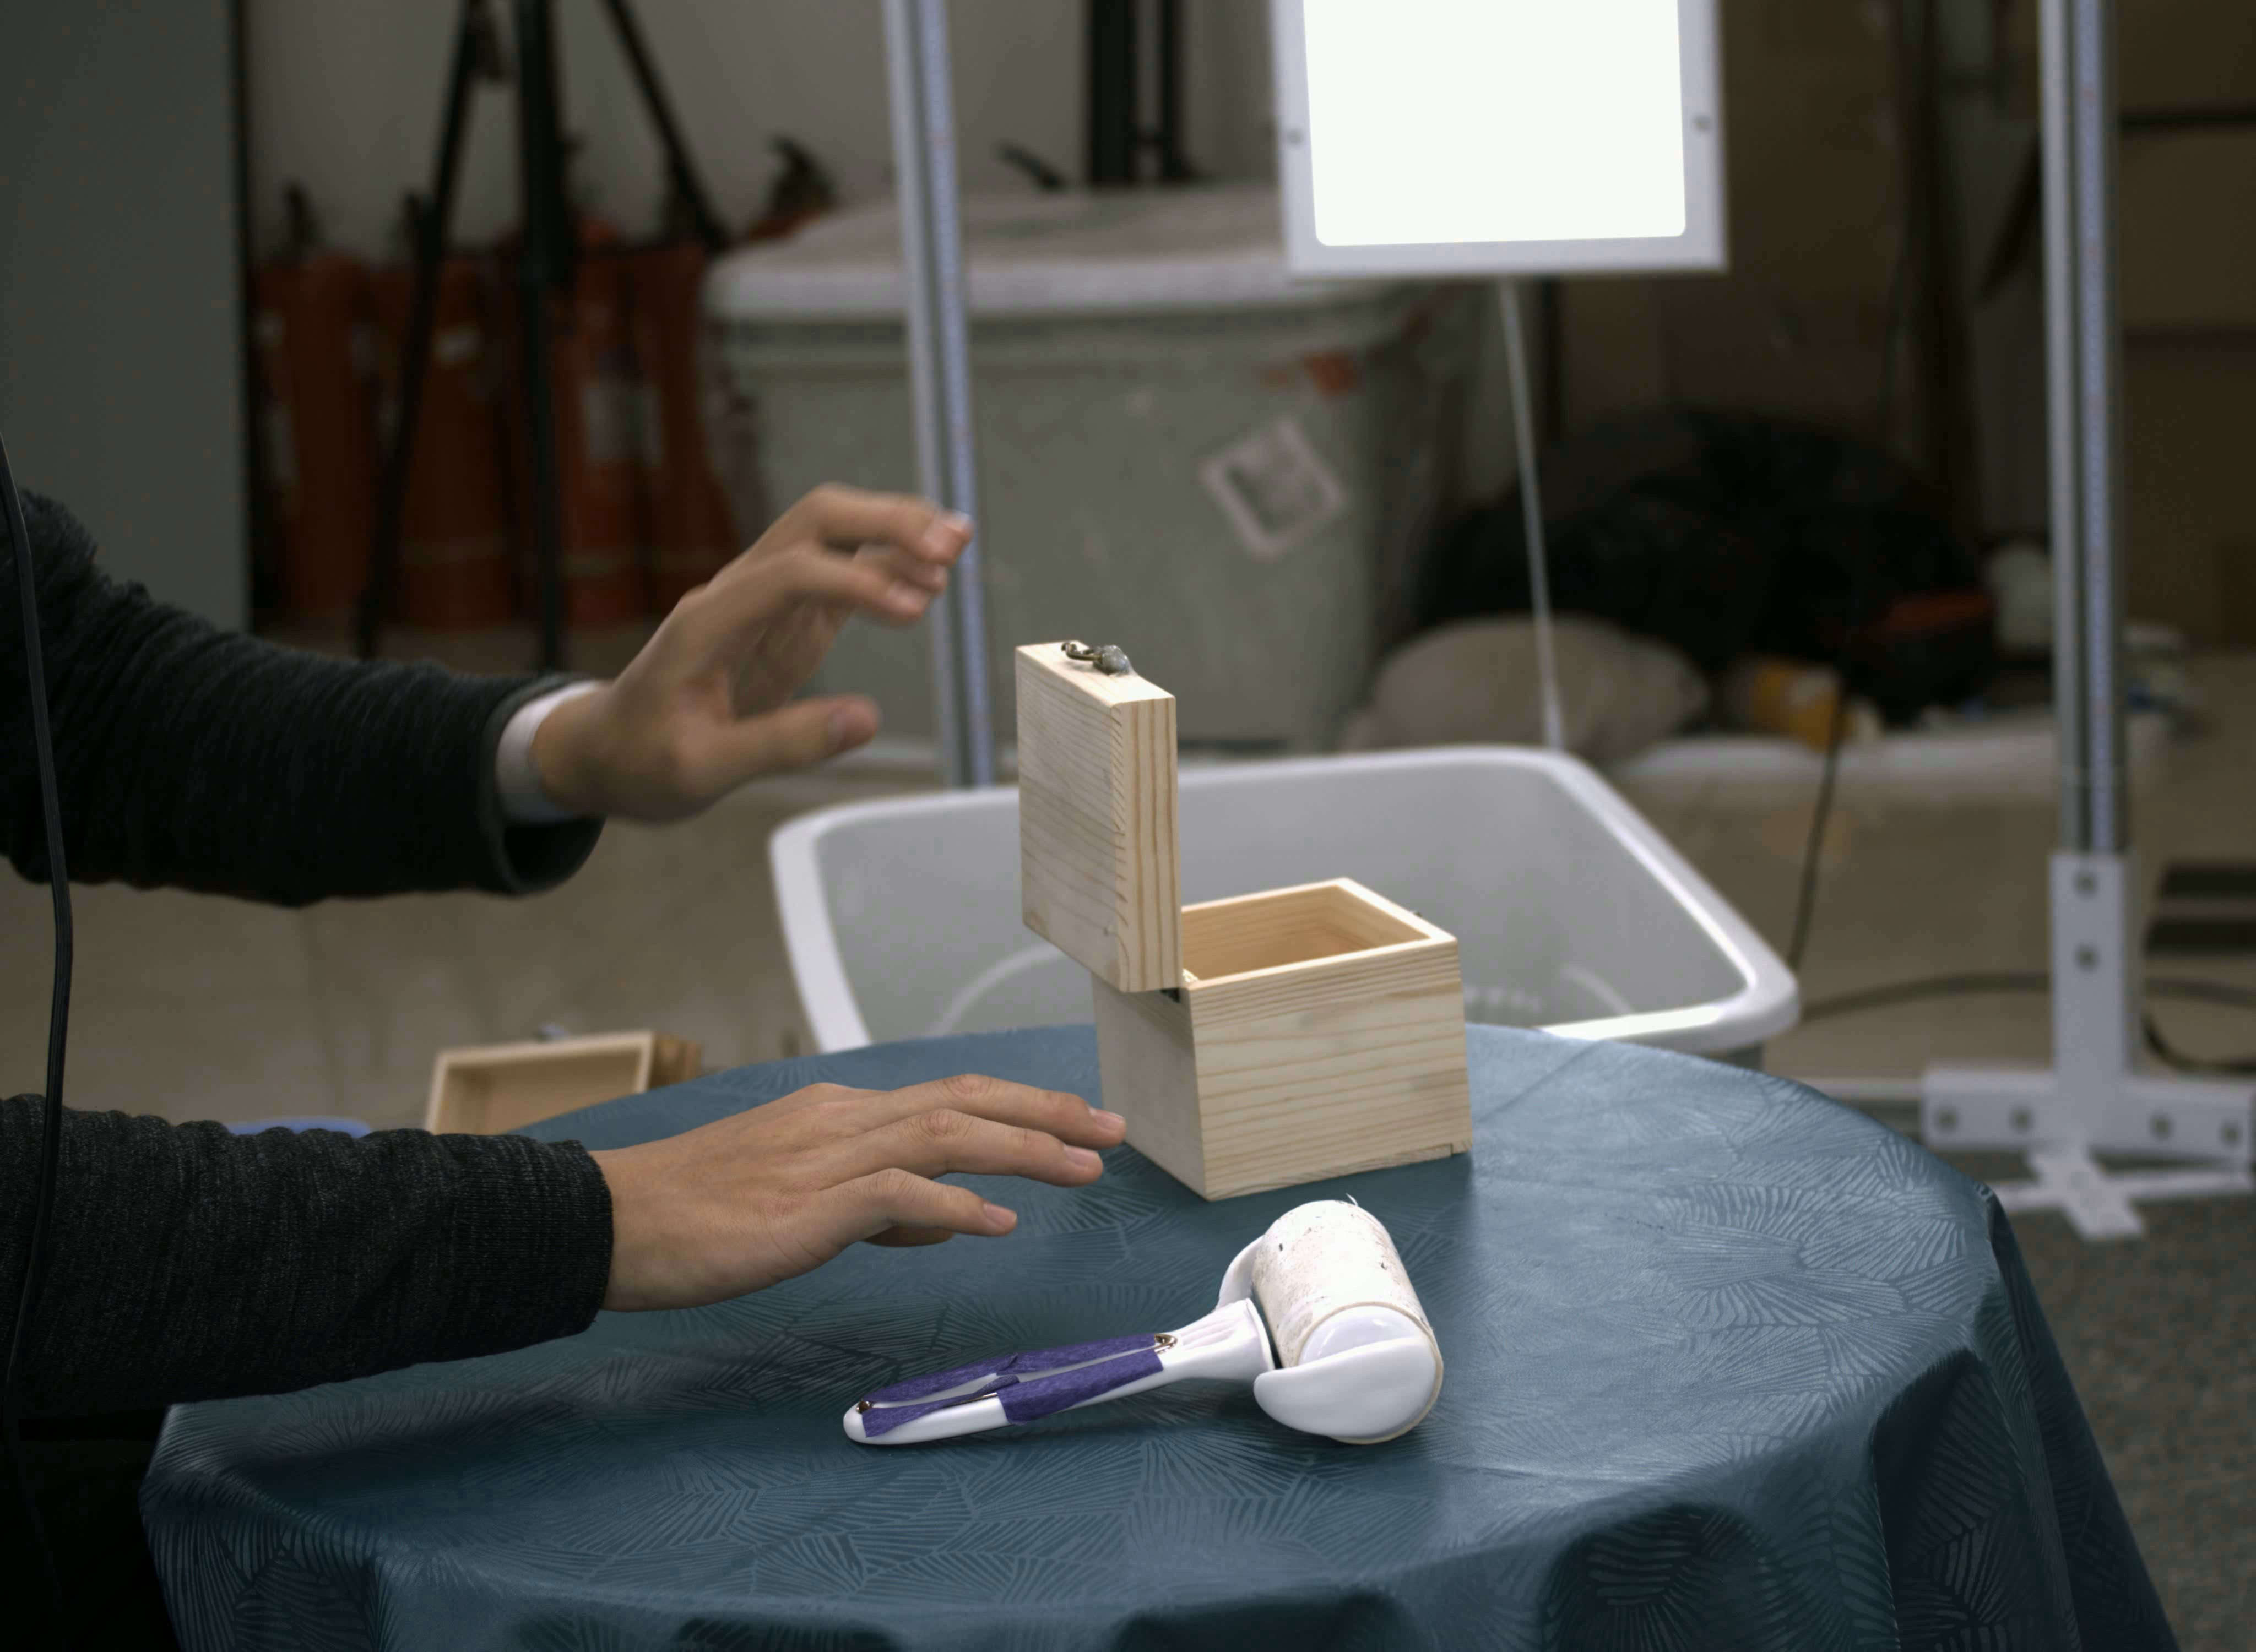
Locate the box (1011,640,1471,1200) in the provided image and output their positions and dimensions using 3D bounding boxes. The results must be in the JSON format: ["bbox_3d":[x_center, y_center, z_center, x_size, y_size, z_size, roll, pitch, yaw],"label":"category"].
[{"bbox_3d":[0.040,0.024,1.916,0.132,0.185,0.104,-10,14,-17],"label":"box"}]

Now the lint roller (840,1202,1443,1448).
[{"bbox_3d":[0.001,0.156,1.678,0.180,0.050,0.133,-3,15,-1],"label":"lint roller"}]
